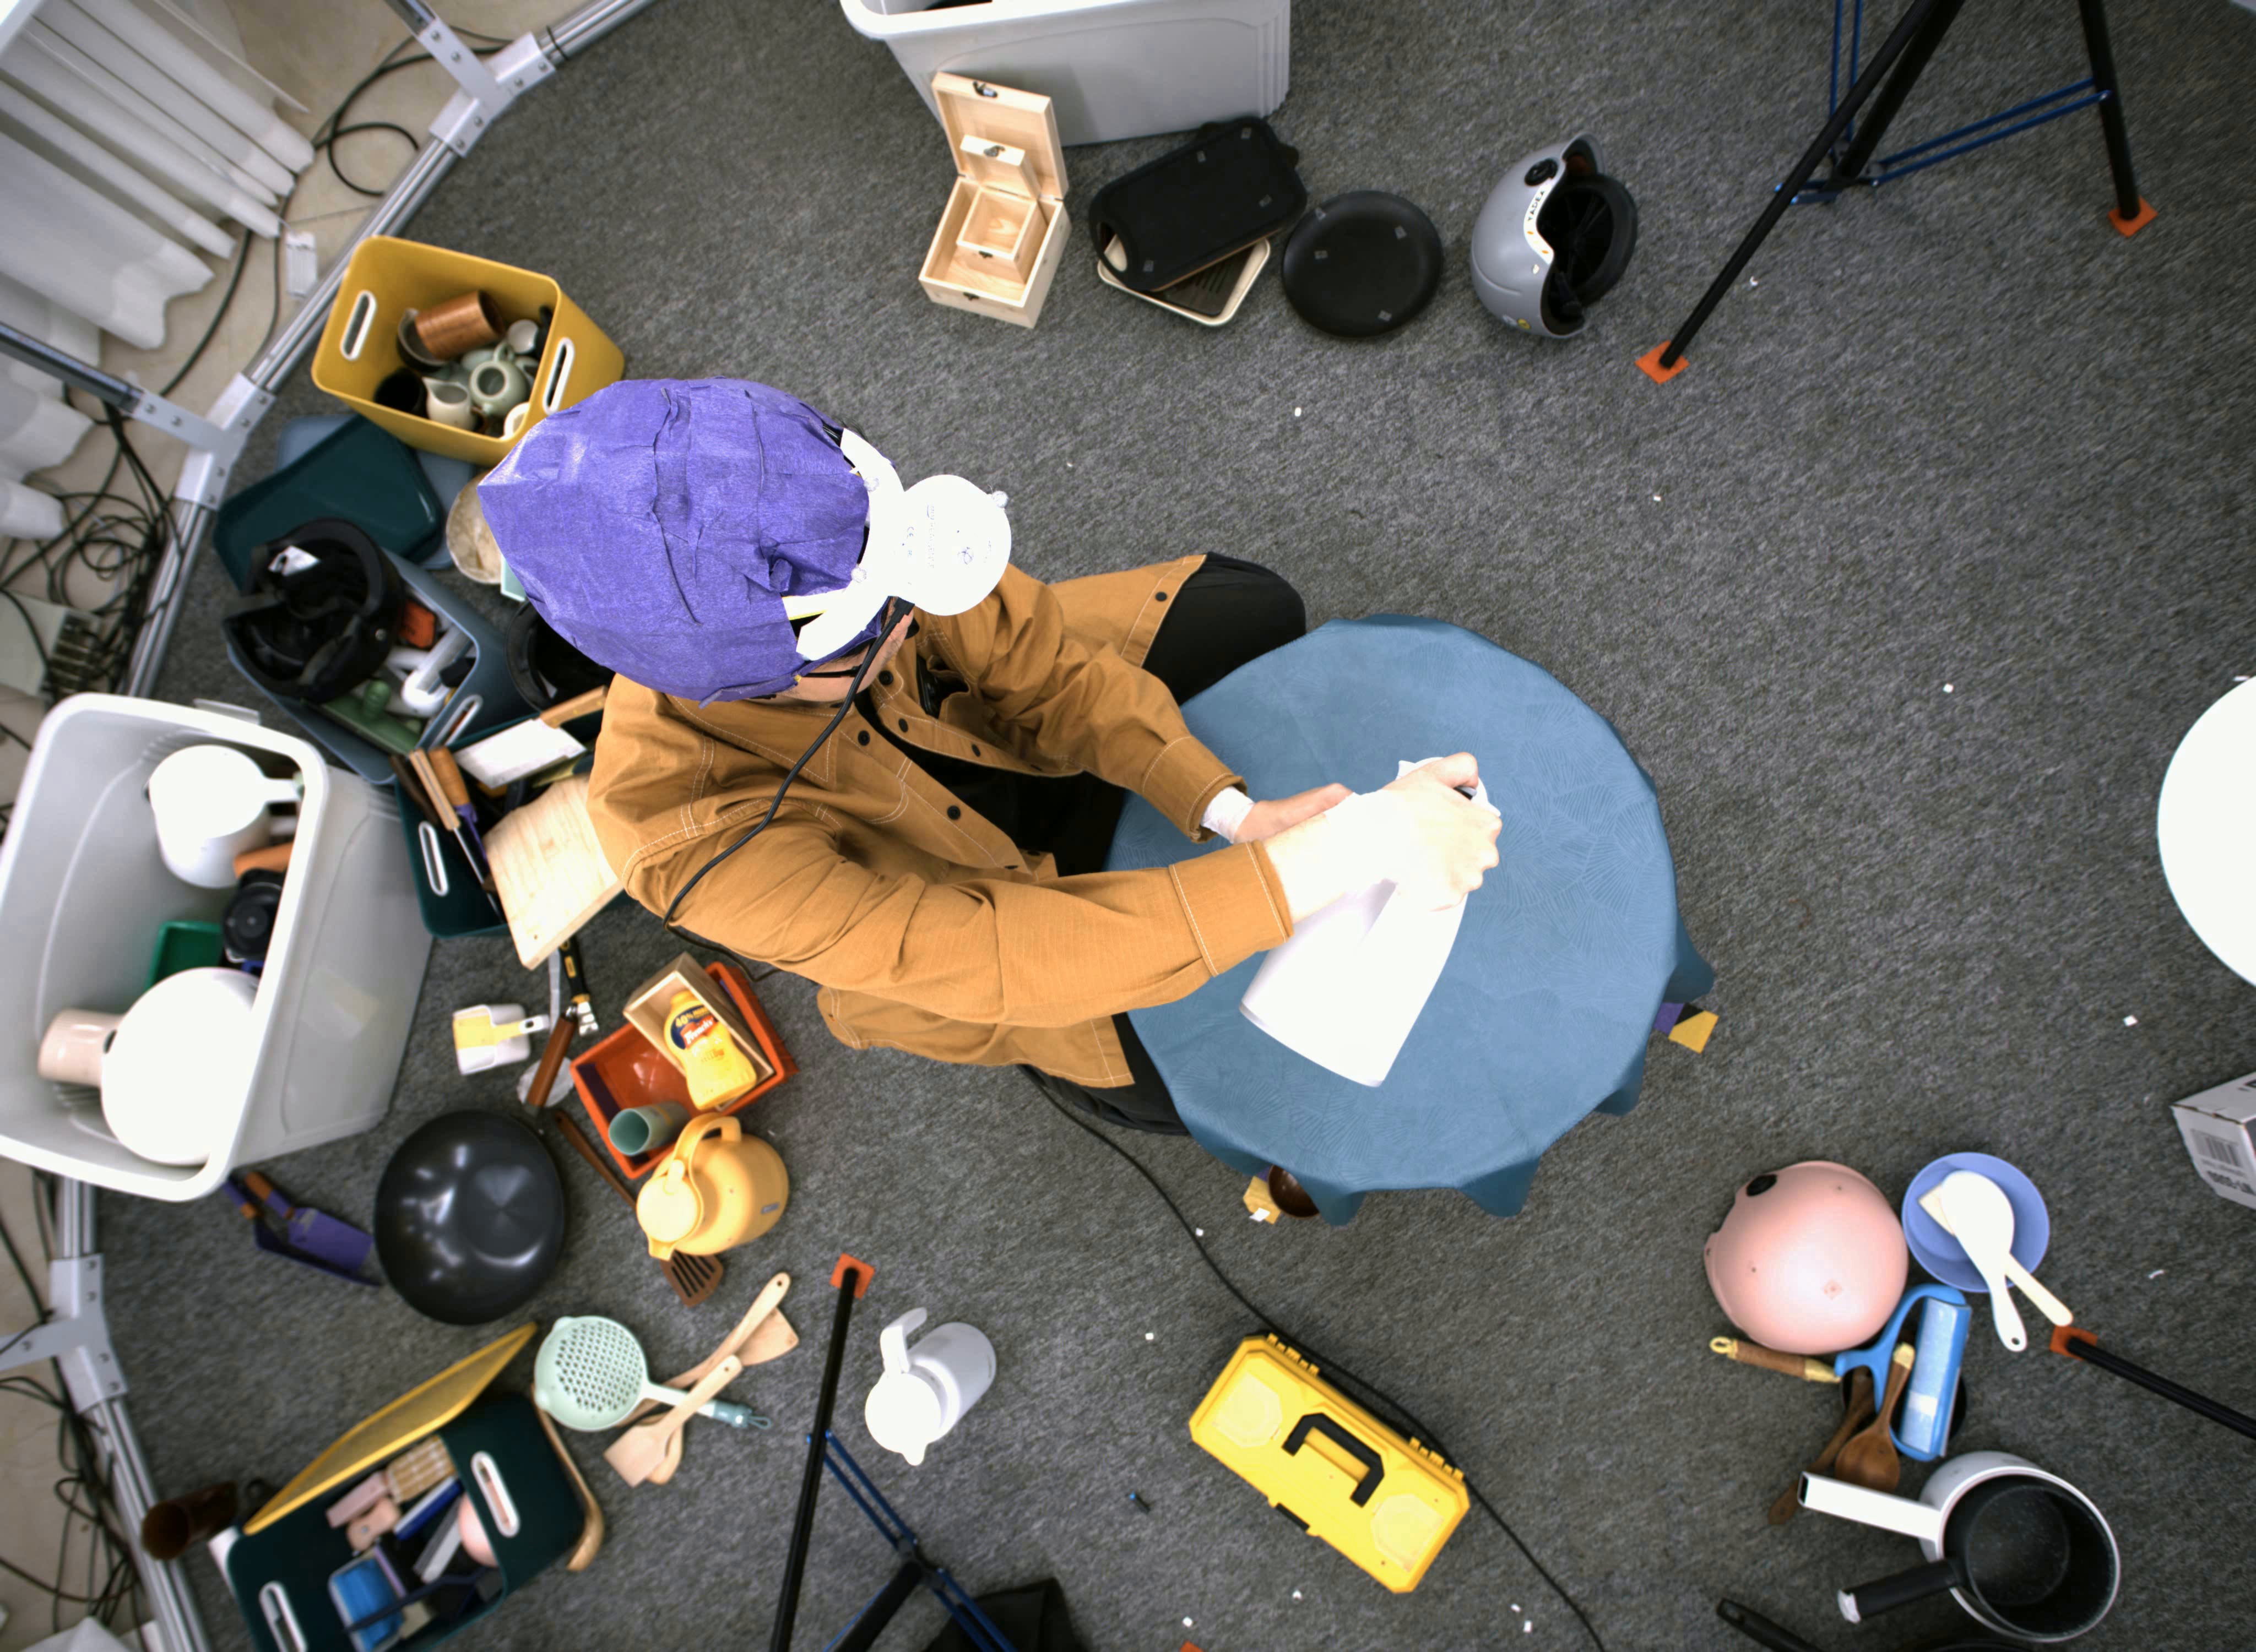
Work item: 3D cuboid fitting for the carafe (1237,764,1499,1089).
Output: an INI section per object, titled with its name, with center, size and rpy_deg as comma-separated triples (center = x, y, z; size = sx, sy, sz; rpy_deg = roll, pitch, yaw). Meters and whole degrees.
[carafe]
center = 0.205, 0.074, 1.108
size = 0.132, 0.167, 0.250
rpy_deg = 29, 96, 2

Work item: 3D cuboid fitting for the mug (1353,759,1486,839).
[mug]
center = 0.267, -0.010, 1.279
size = 0.119, 0.102, 0.084
rpy_deg = -16, 84, 6
